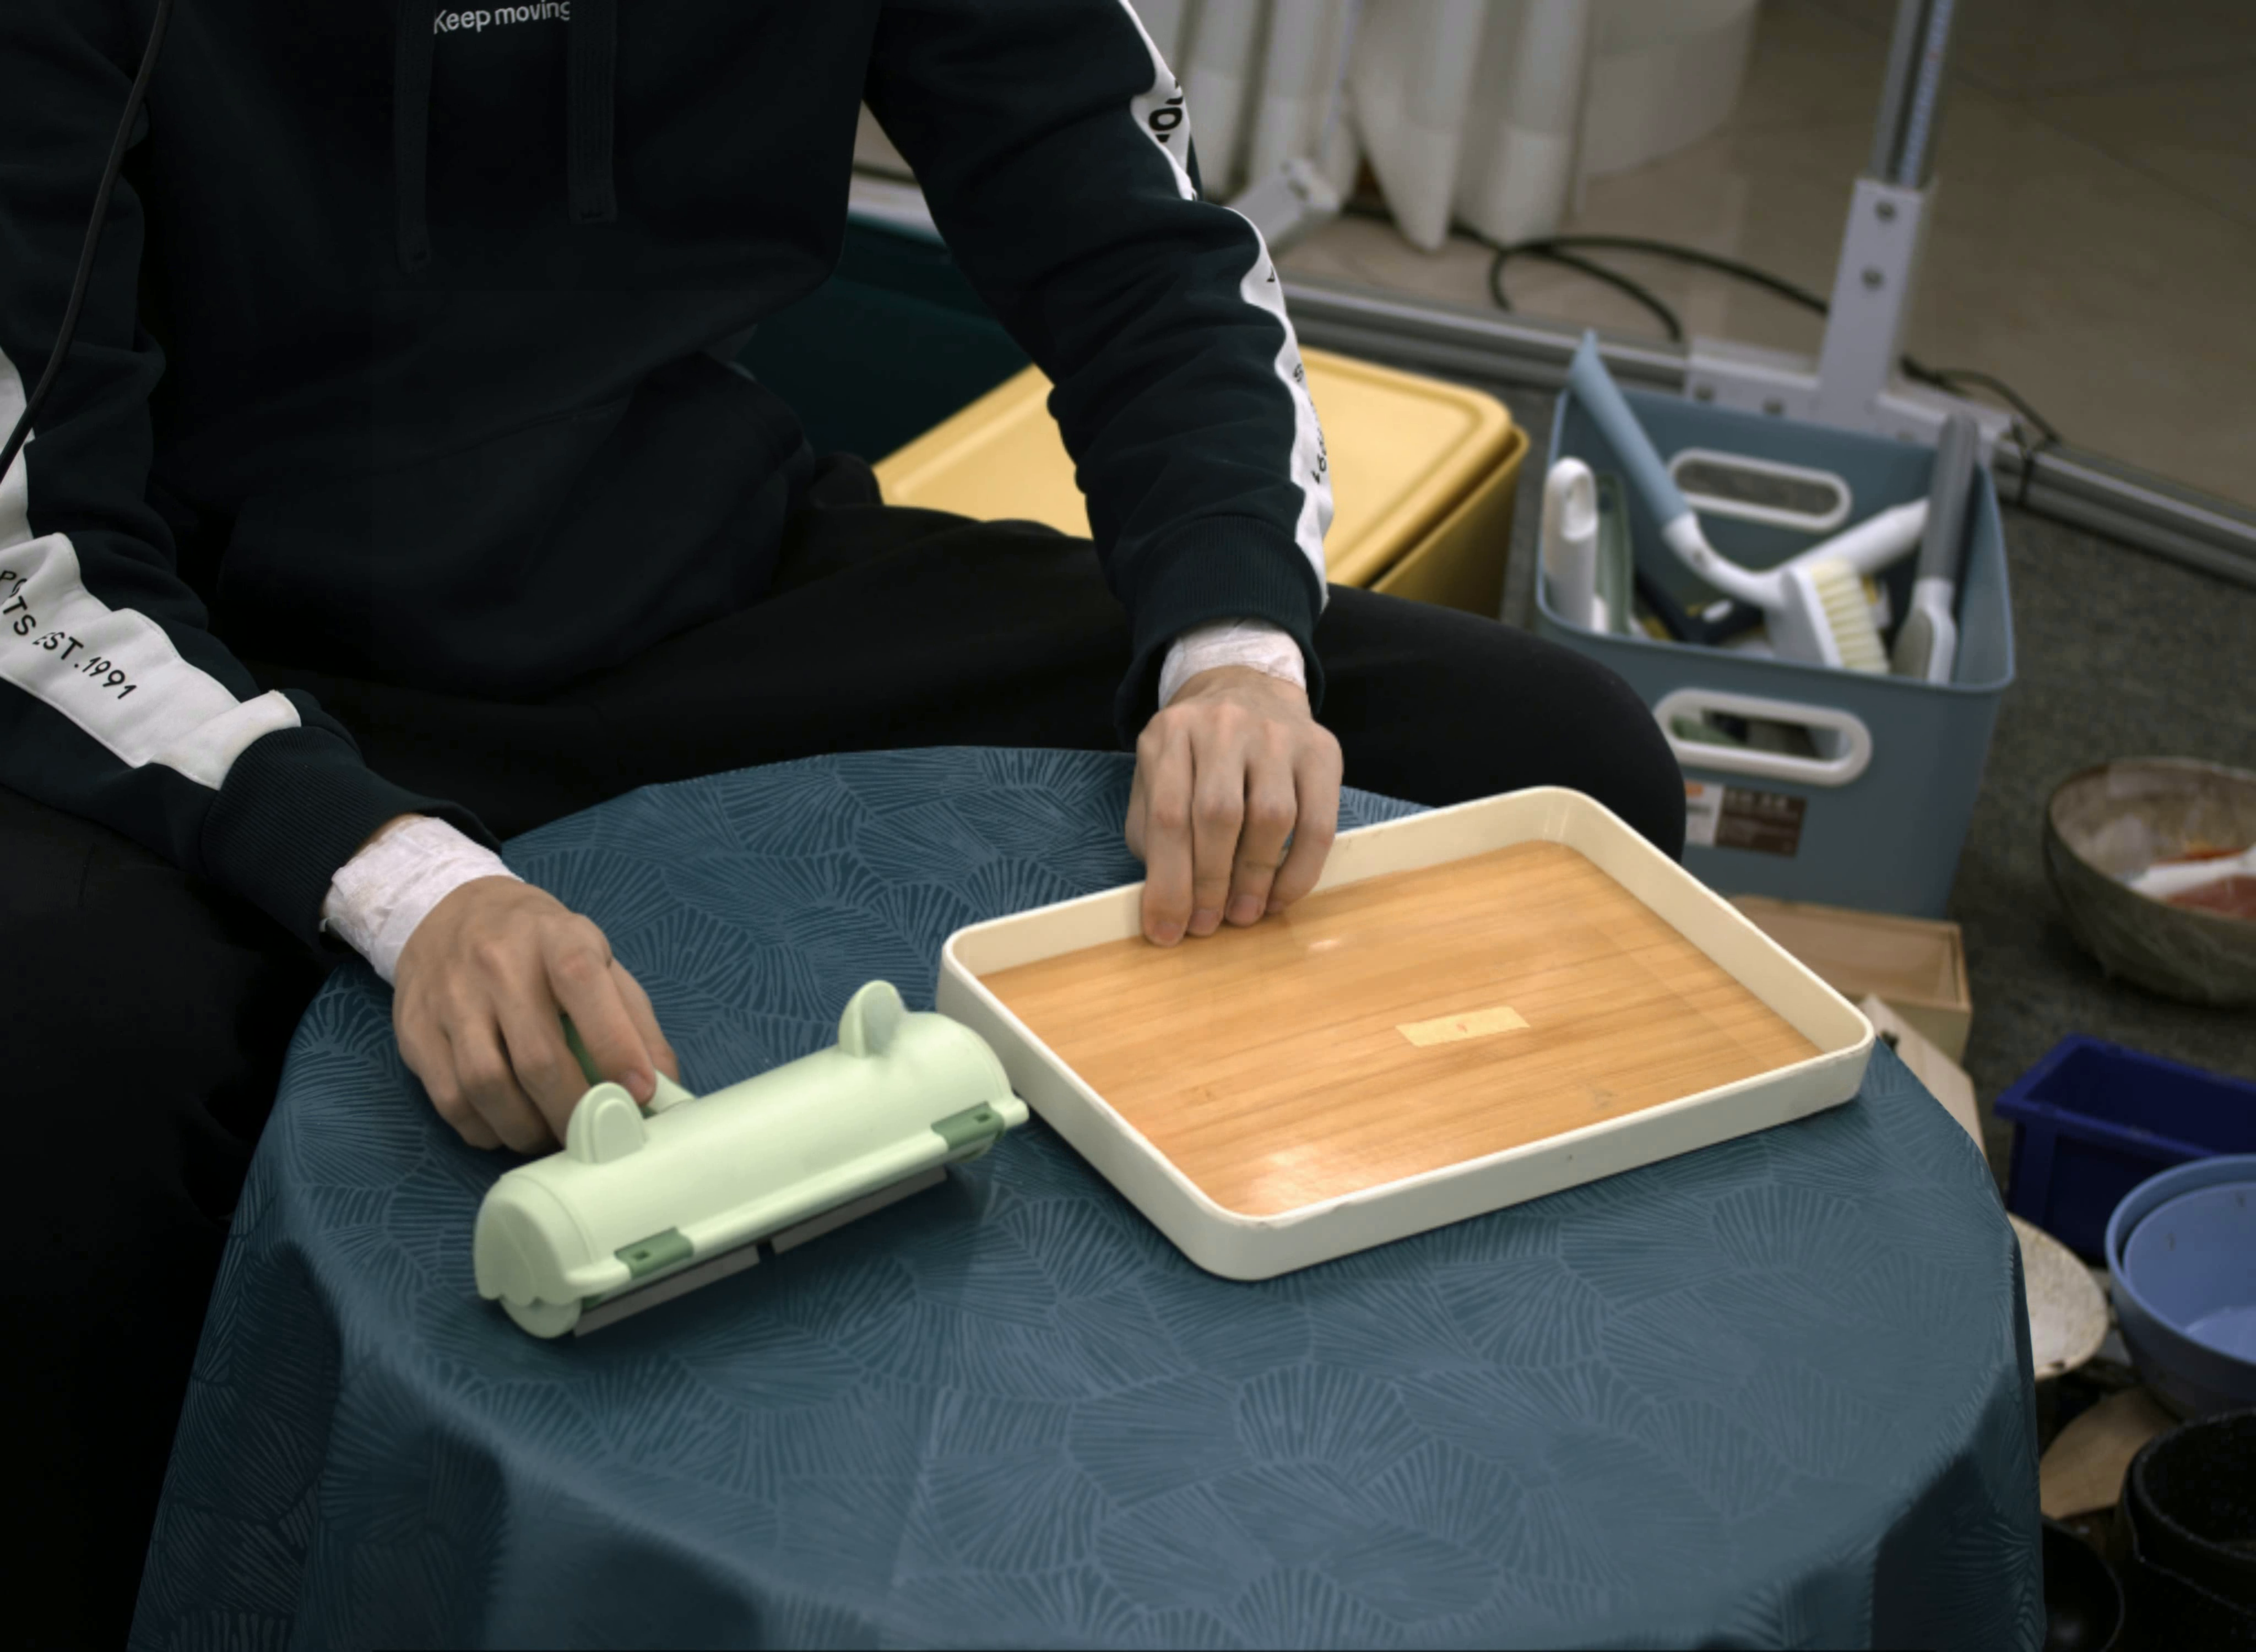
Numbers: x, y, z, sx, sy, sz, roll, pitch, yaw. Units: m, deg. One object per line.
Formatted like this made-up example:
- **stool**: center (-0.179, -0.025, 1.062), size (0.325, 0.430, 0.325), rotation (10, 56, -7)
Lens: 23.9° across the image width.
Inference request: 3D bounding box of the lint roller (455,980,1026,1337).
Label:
- **lint roller**: center (-0.161, 0.081, 1.759), size (0.197, 0.082, 0.185), rotation (-20, 41, -40)

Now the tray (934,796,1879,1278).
- **tray**: center (0.100, 0.070, 1.884), size (0.298, 0.027, 0.193), rotation (-13, 36, -34)
